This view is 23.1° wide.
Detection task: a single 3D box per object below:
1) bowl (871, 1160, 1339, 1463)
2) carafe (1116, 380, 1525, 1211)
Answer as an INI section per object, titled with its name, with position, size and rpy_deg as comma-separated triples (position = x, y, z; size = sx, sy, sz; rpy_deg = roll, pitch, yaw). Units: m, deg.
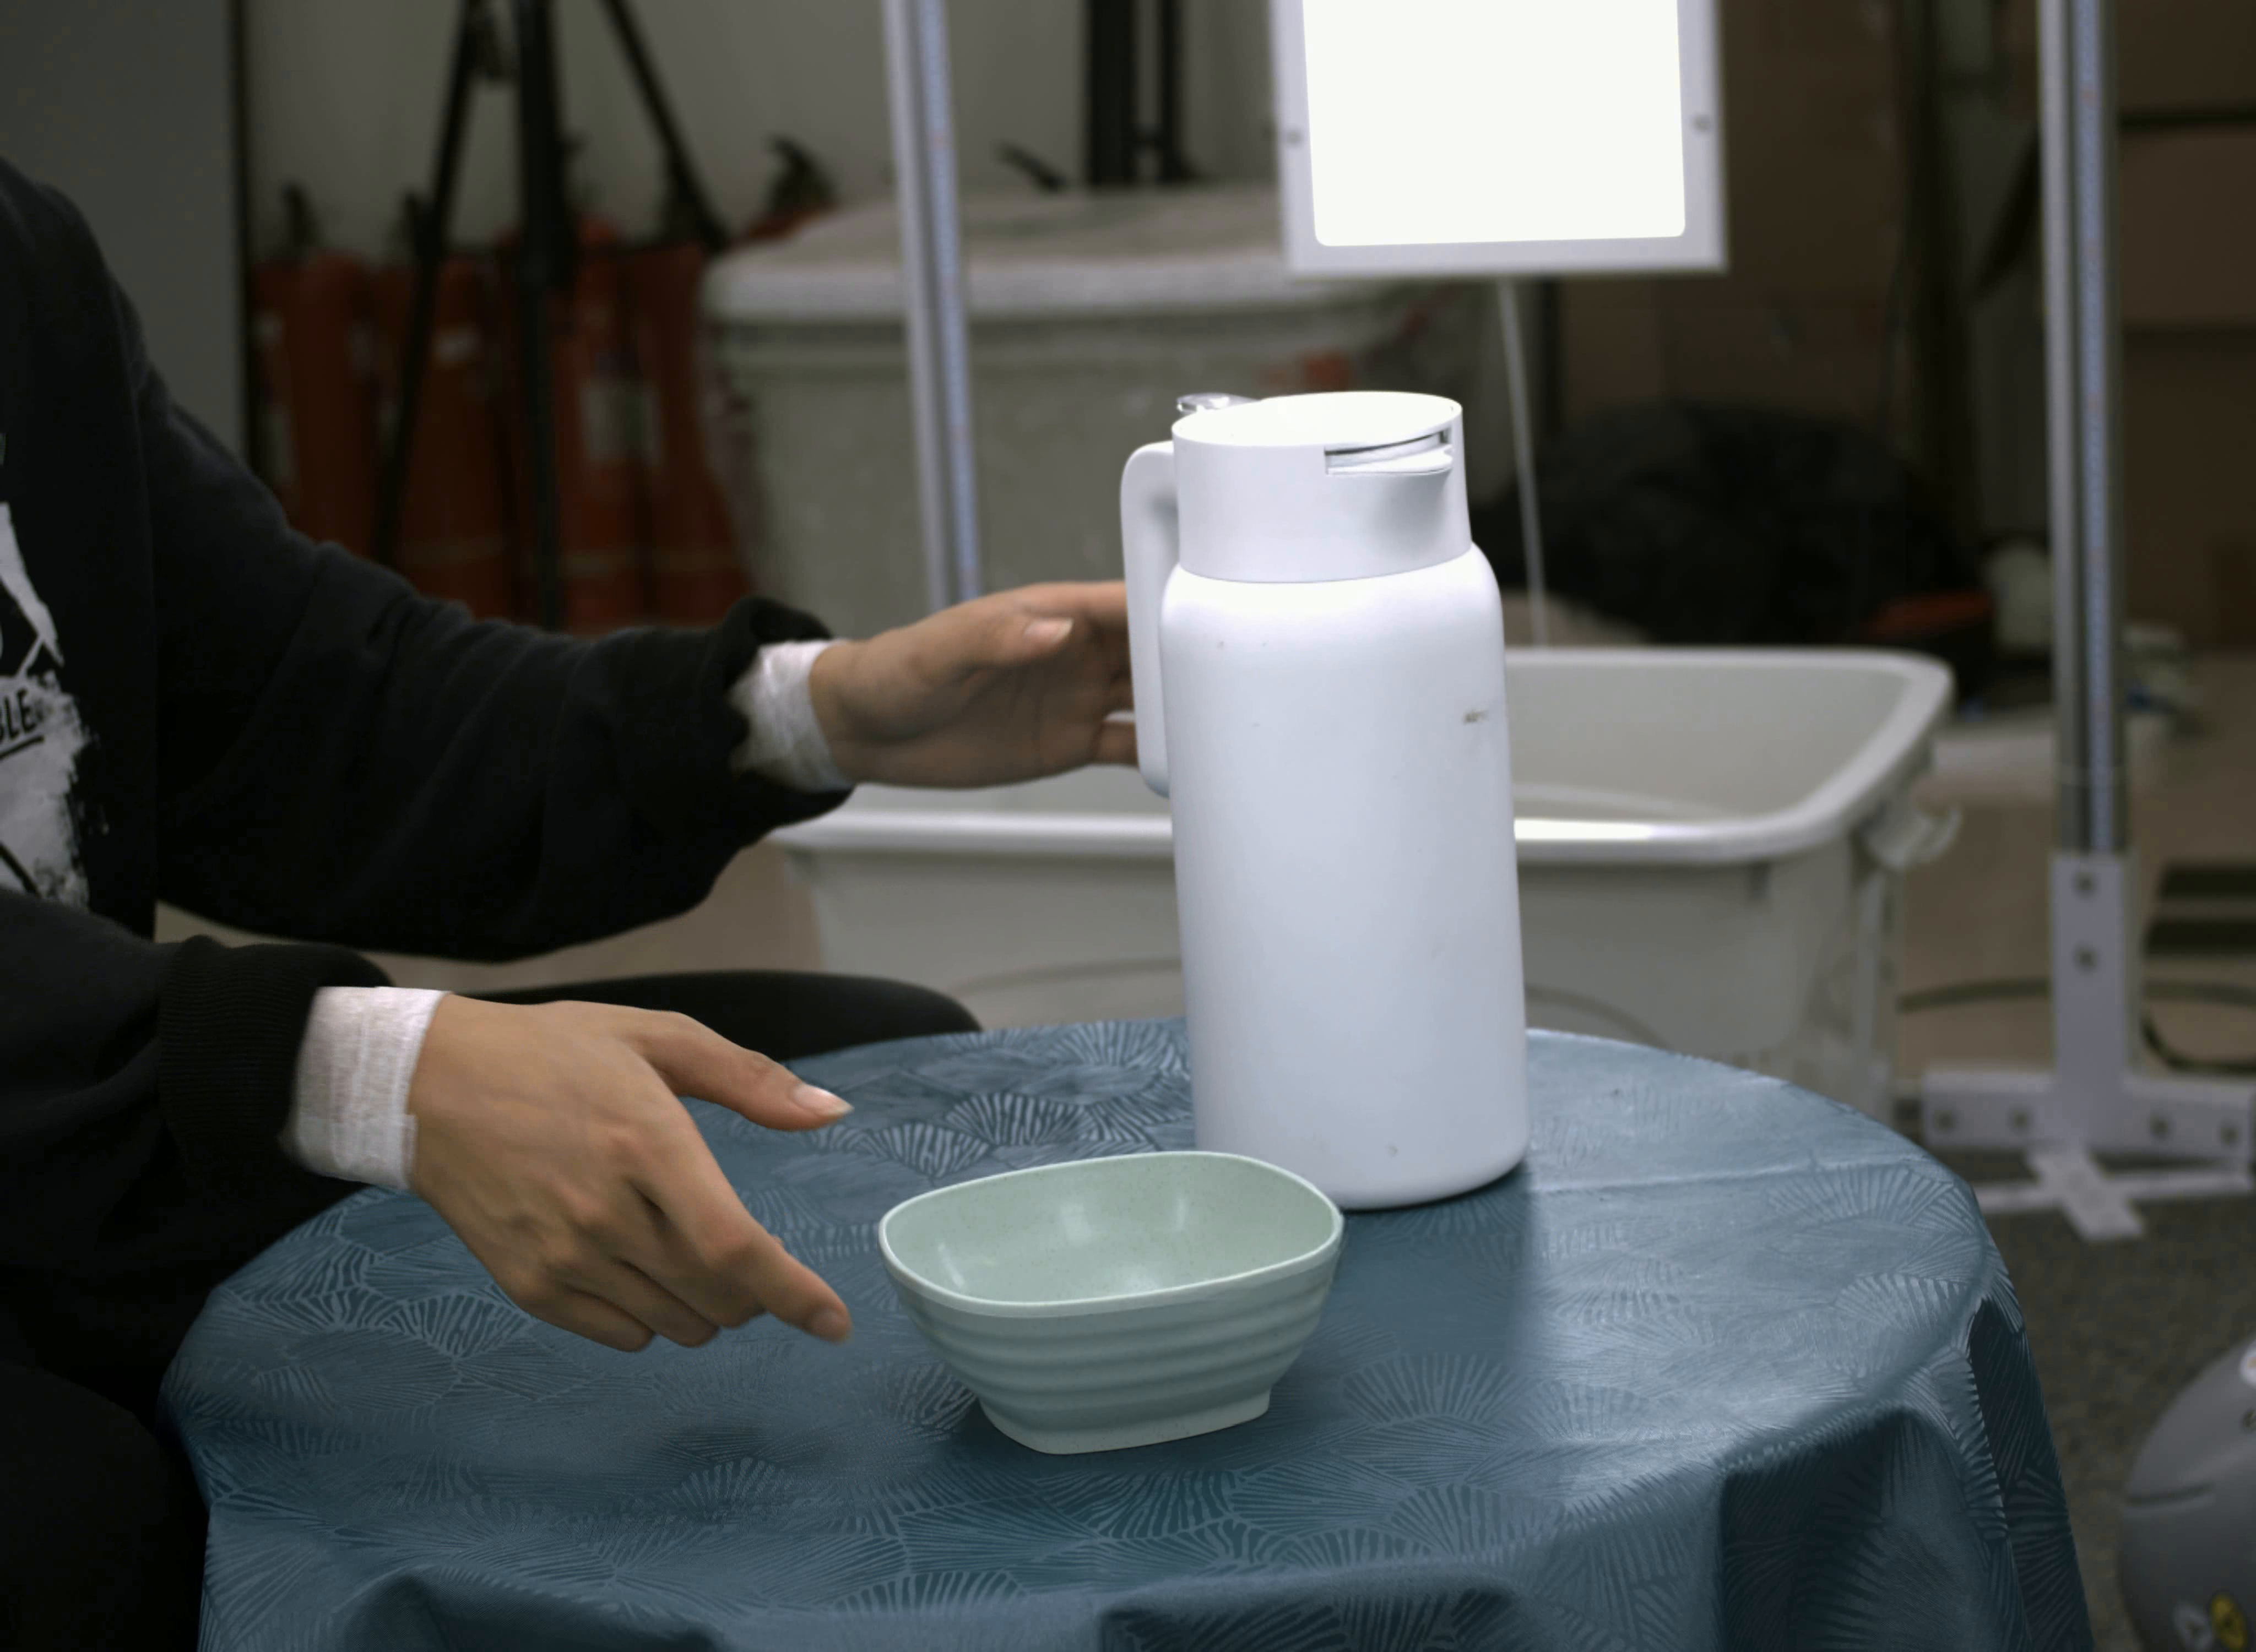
[bowl]
position = -0.005, 0.152, 1.688
size = 0.151, 0.059, 0.151
rpy_deg = -5, 13, 0
[carafe]
position = 0.061, -0.013, 1.884
size = 0.121, 0.270, 0.176
rpy_deg = -16, 18, -32
